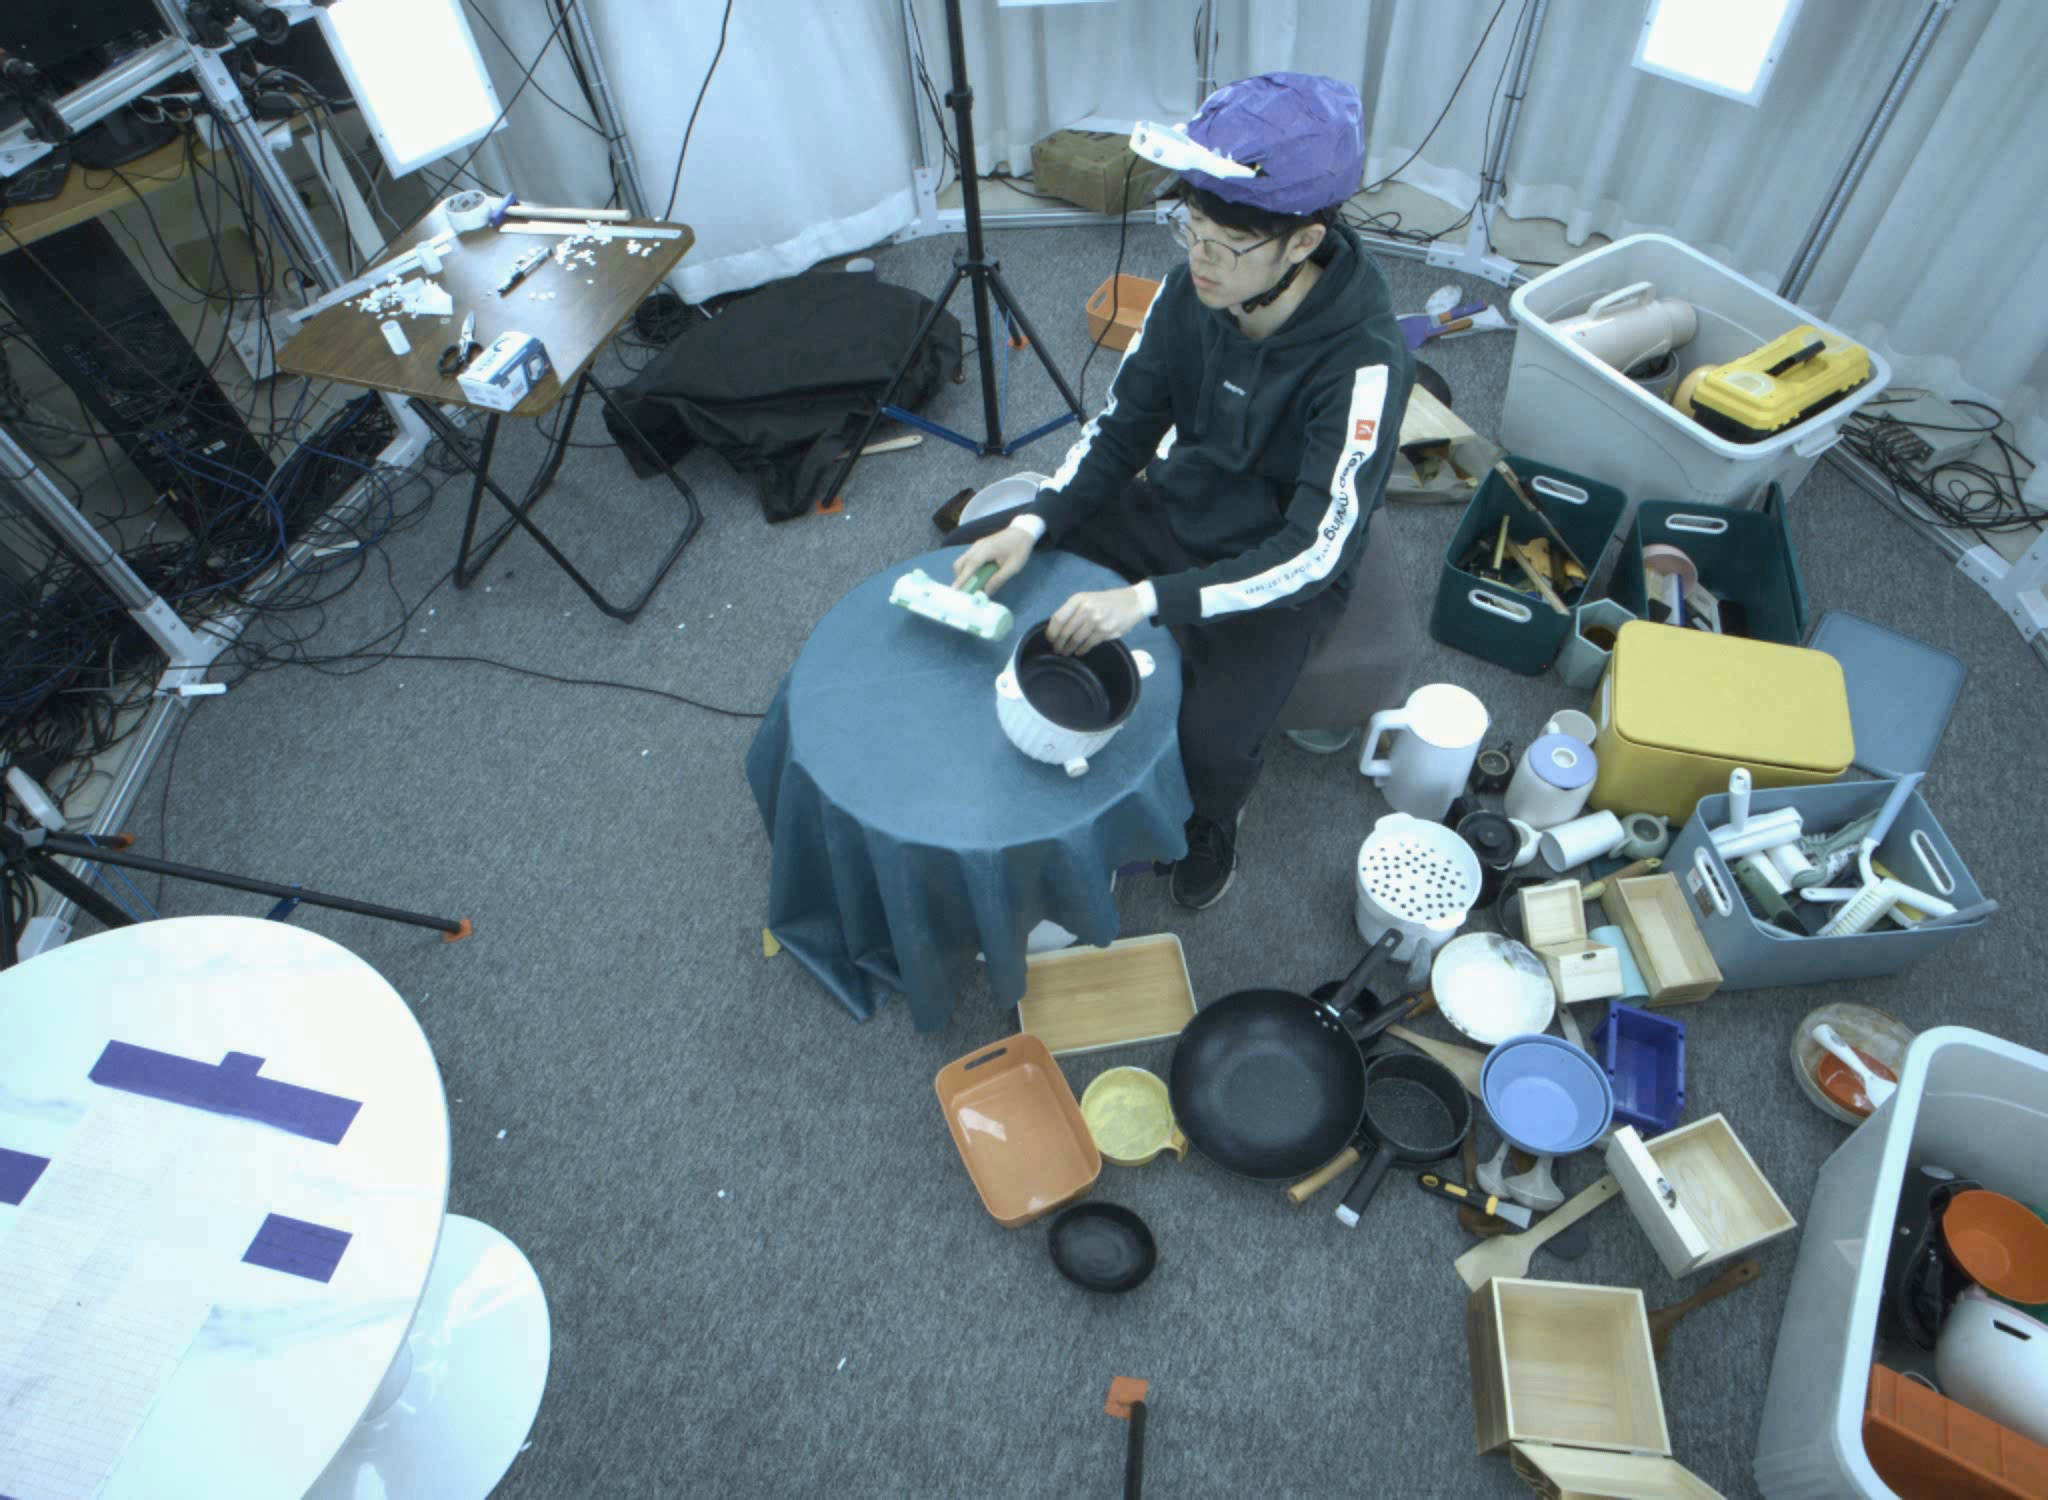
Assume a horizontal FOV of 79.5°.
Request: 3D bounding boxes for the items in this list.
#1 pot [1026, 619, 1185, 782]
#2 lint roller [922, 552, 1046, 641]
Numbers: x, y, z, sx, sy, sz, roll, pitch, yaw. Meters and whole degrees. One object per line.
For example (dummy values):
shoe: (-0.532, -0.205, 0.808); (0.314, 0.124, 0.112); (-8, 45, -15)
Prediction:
pot: (0.098, -0.065, 1.704); (0.244, 0.142, 0.188); (-11, 67, -24)
lint roller: (-0.032, -0.262, 1.880); (0.195, 0.083, 0.184); (24, 63, 26)
